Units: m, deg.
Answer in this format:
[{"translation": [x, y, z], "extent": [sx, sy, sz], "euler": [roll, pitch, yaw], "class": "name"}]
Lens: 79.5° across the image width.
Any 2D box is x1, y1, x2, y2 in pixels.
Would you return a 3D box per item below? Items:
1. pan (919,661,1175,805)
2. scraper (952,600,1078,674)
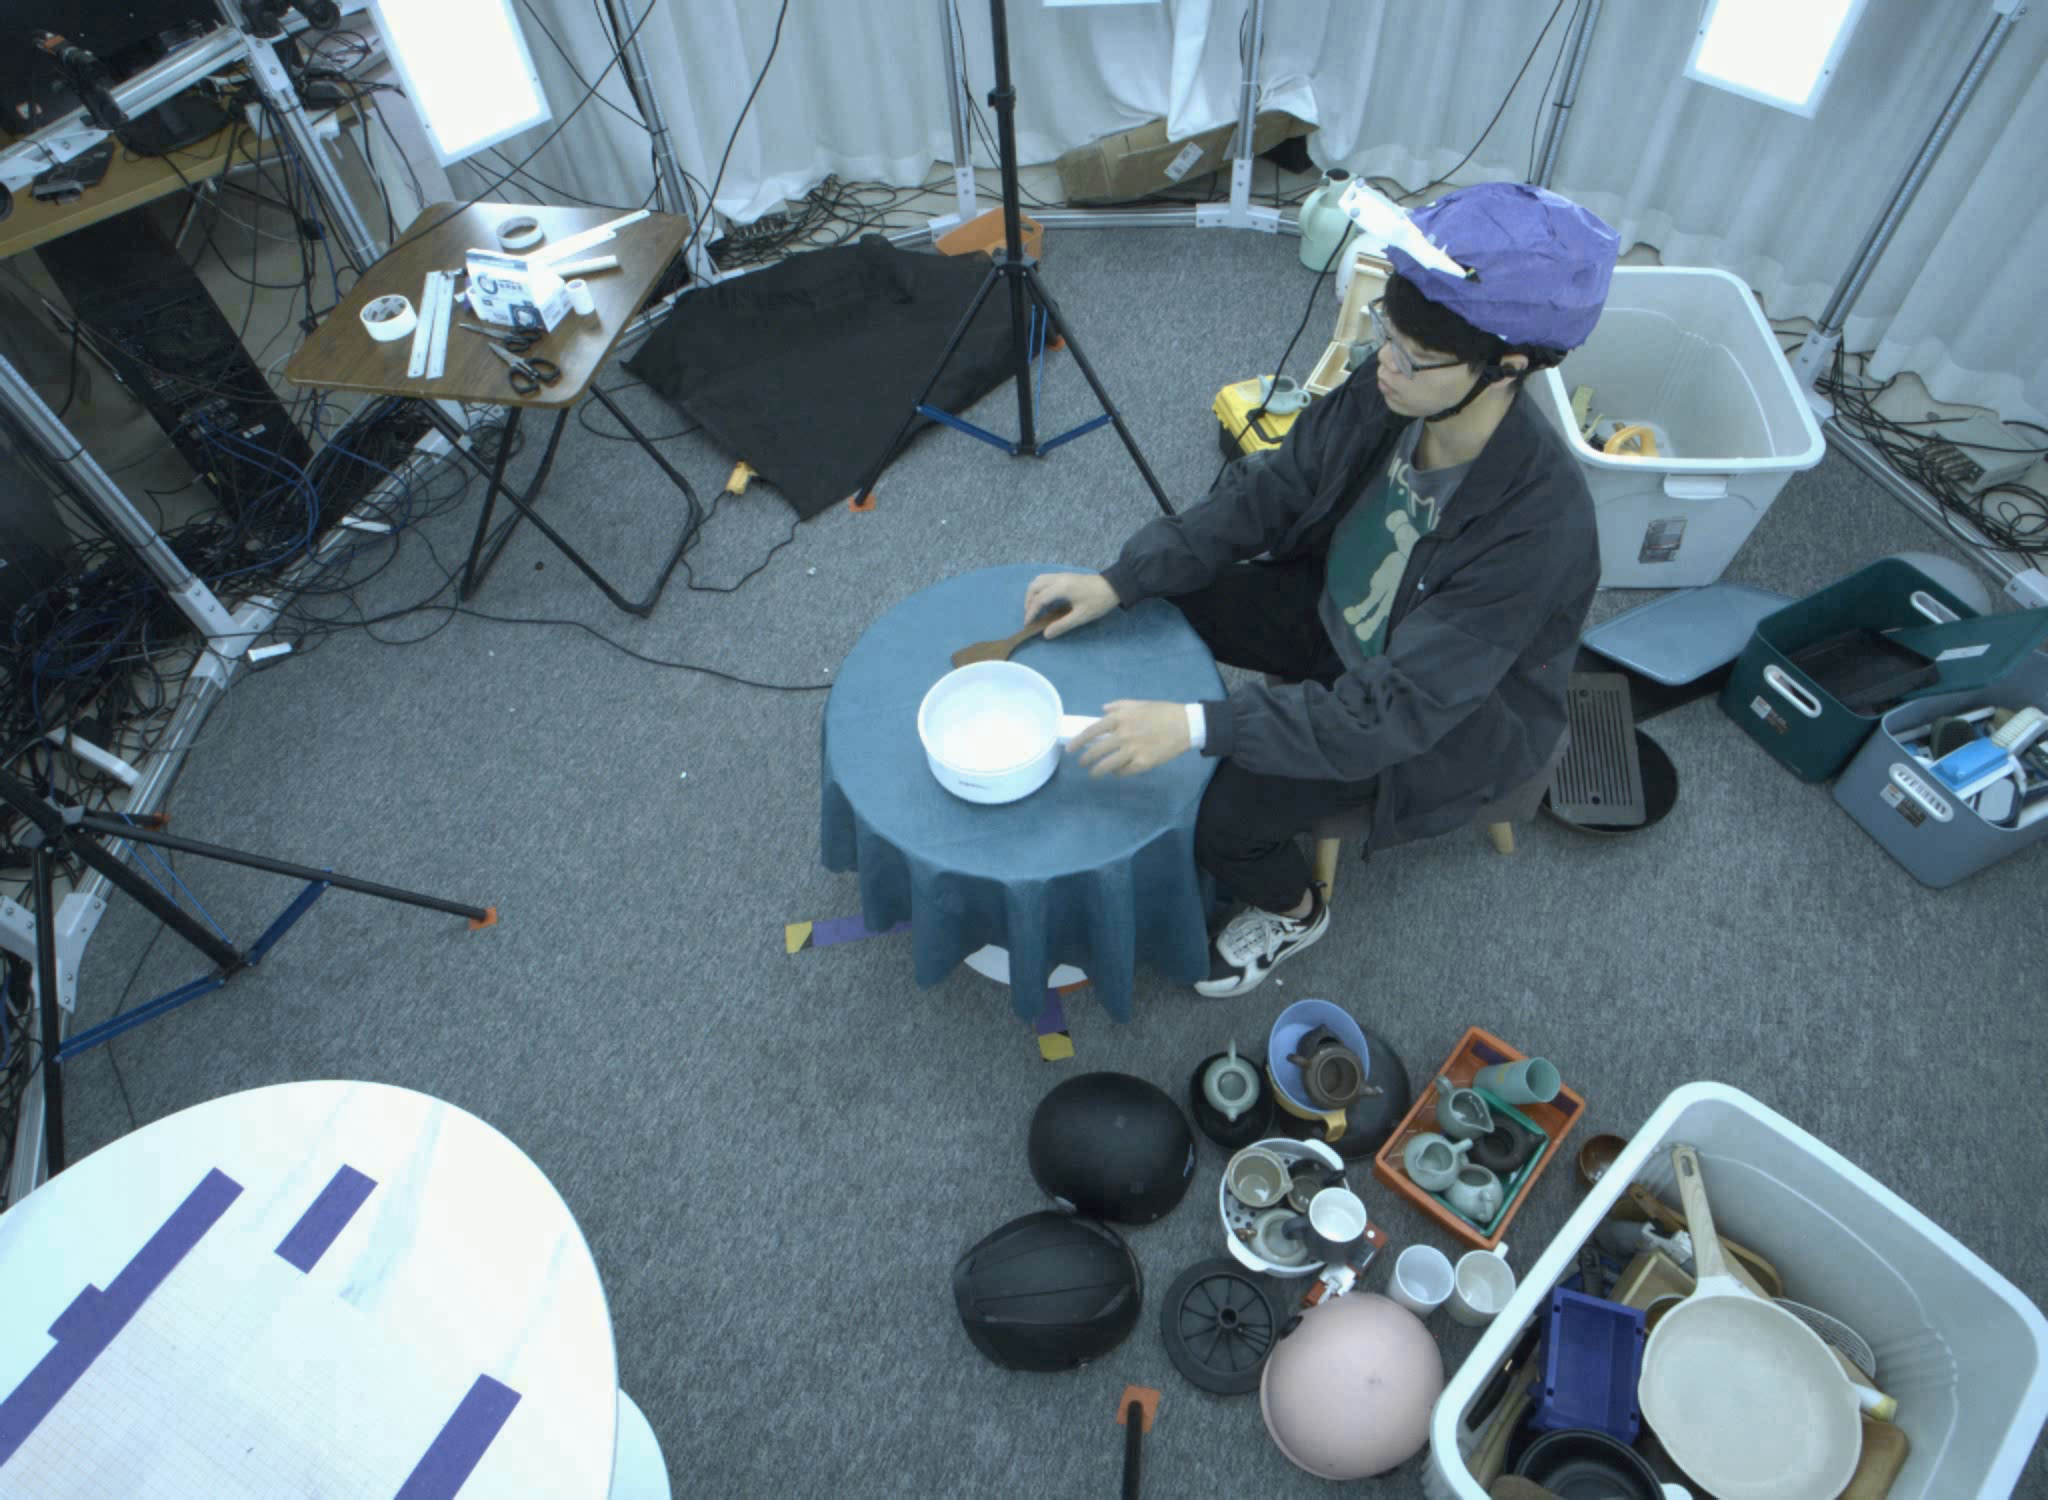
[{"translation": [0.032, -0.011, 1.726], "extent": [0.354, 0.103, 0.200], "euler": [6, 55, 5], "class": "pan"}, {"translation": [-0.009, -0.173, 1.888], "extent": [0.212, 0.011, 0.074], "euler": [-31, 60, -12], "class": "scraper"}]
